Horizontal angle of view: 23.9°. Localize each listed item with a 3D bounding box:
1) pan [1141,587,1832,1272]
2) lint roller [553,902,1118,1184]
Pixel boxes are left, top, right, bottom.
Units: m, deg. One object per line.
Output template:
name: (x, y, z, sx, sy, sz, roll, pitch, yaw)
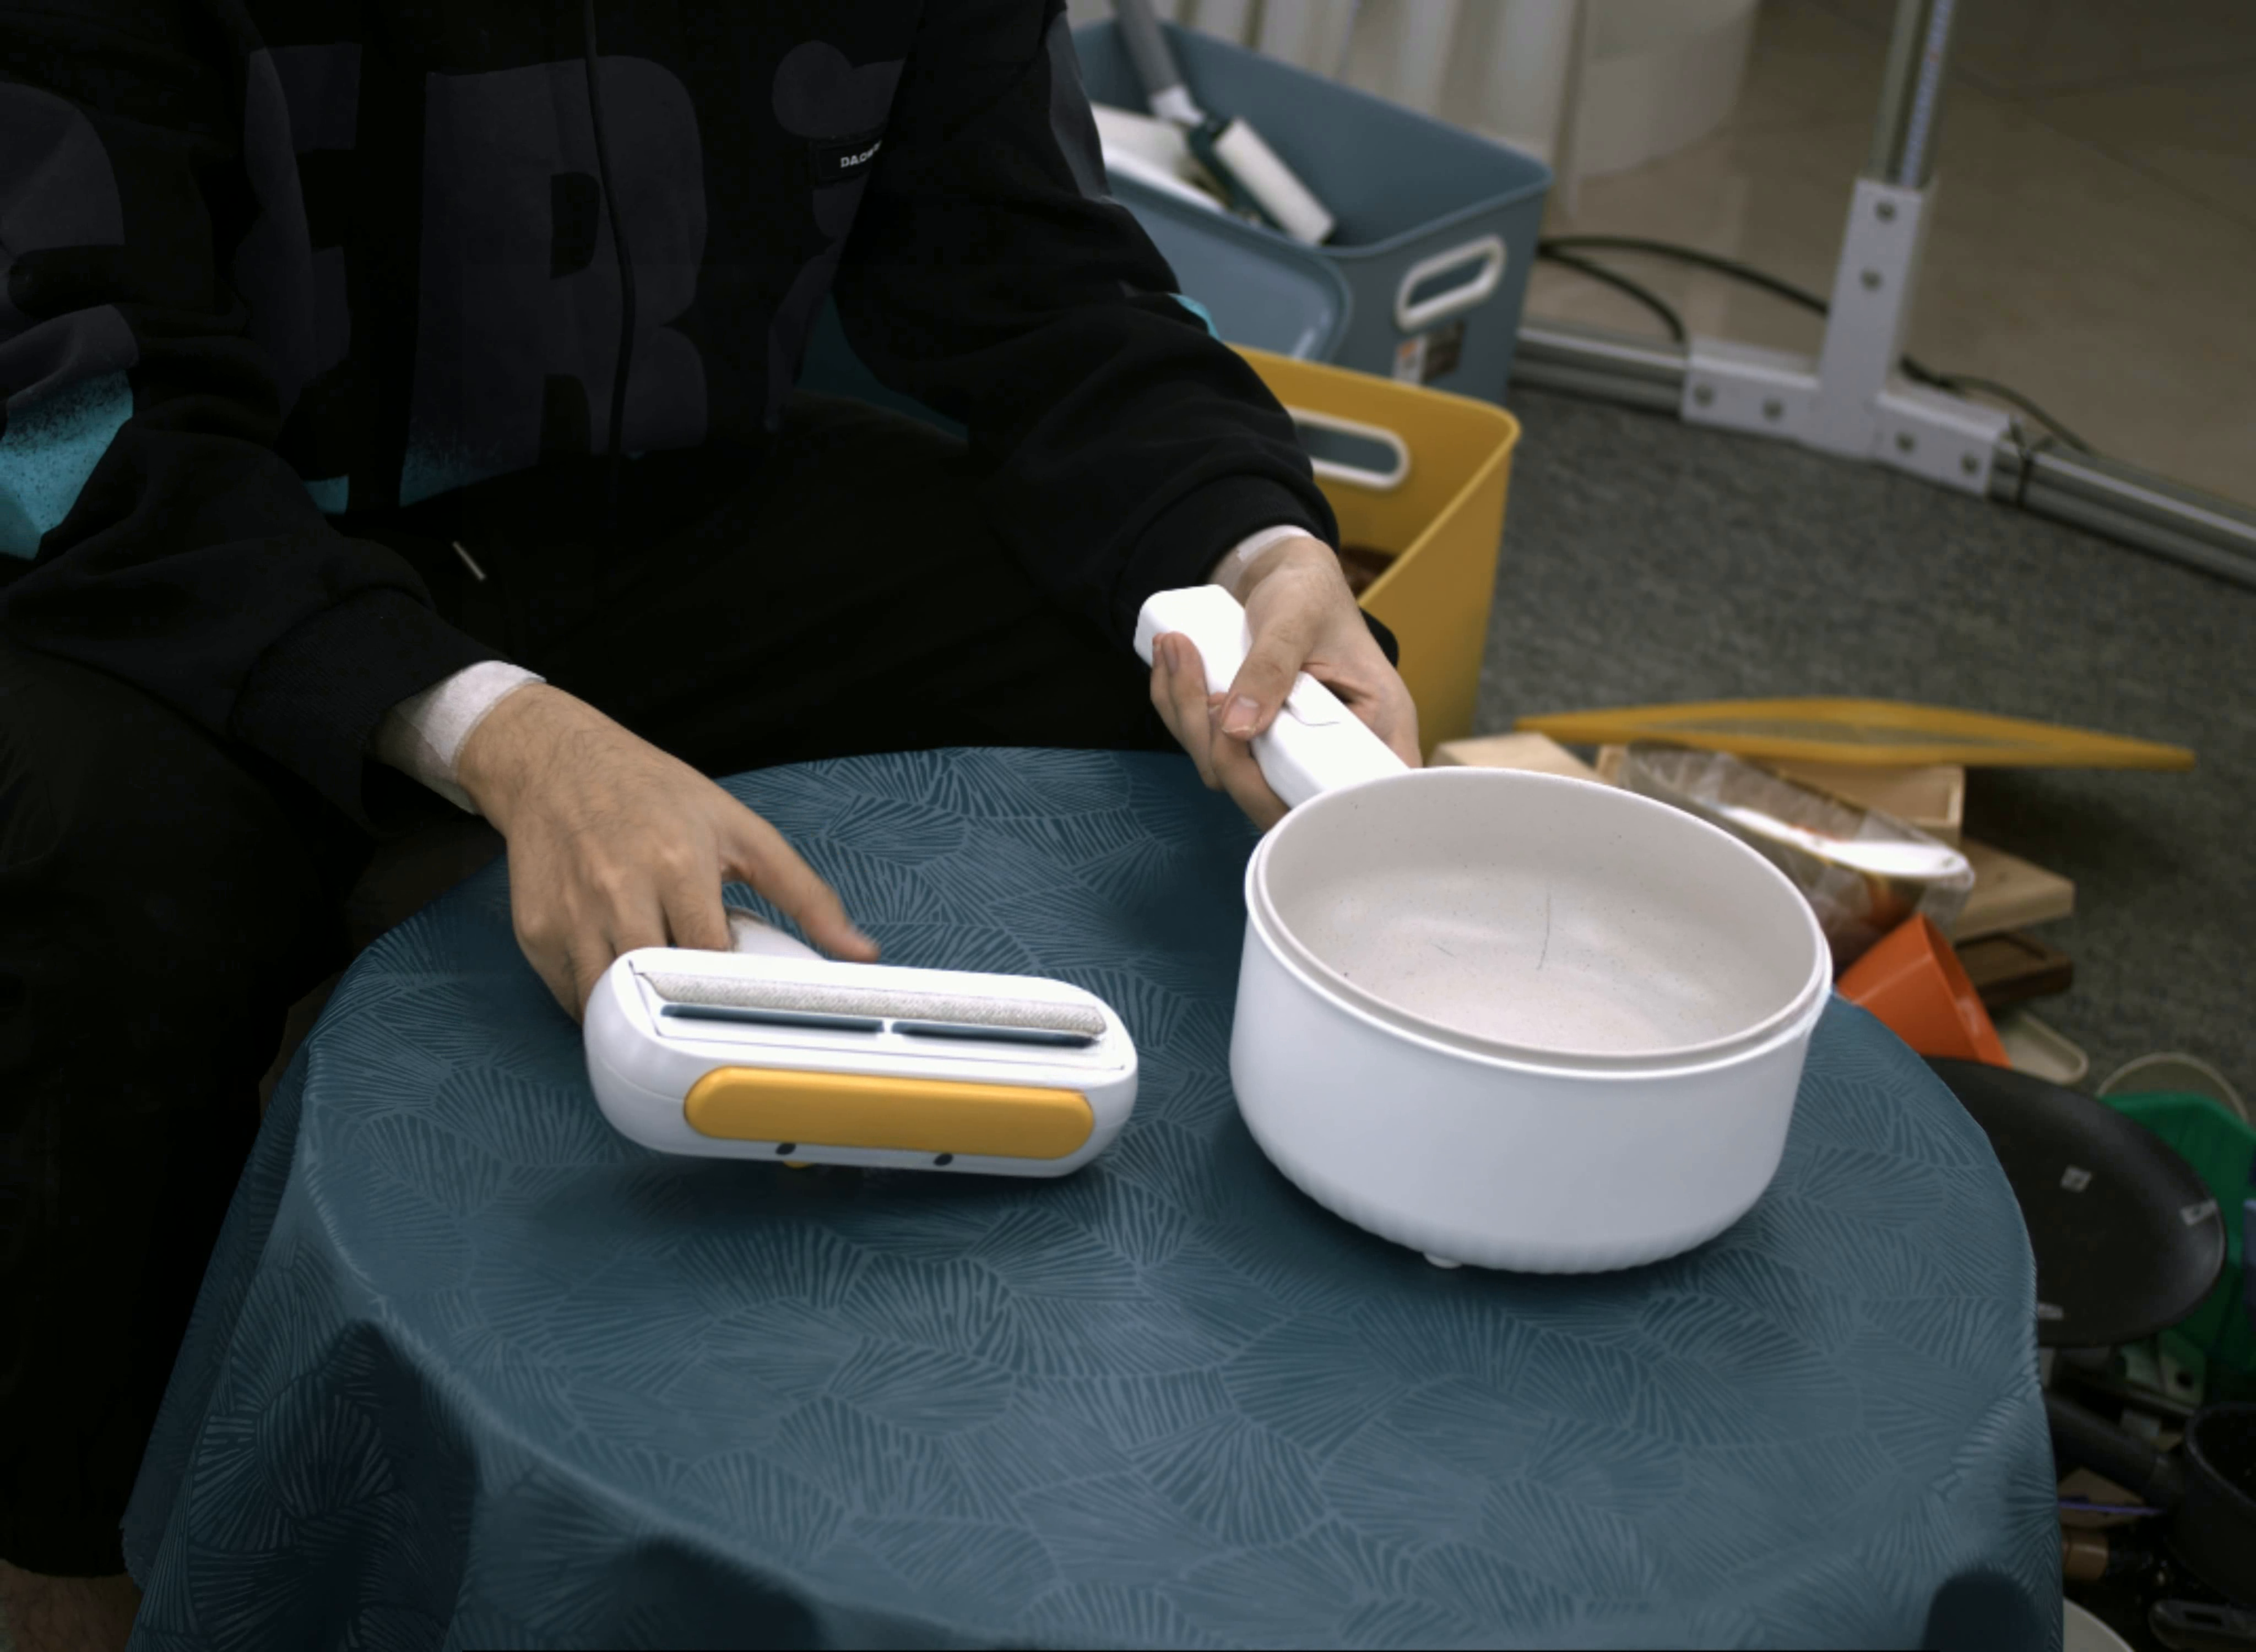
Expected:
pan: (0.097, 0.034, 1.877, 0.200, 0.102, 0.358, -8, 31, -27)
lint roller: (-0.114, 0.060, 1.824, 0.191, 0.074, 0.194, 3, 25, -20)
